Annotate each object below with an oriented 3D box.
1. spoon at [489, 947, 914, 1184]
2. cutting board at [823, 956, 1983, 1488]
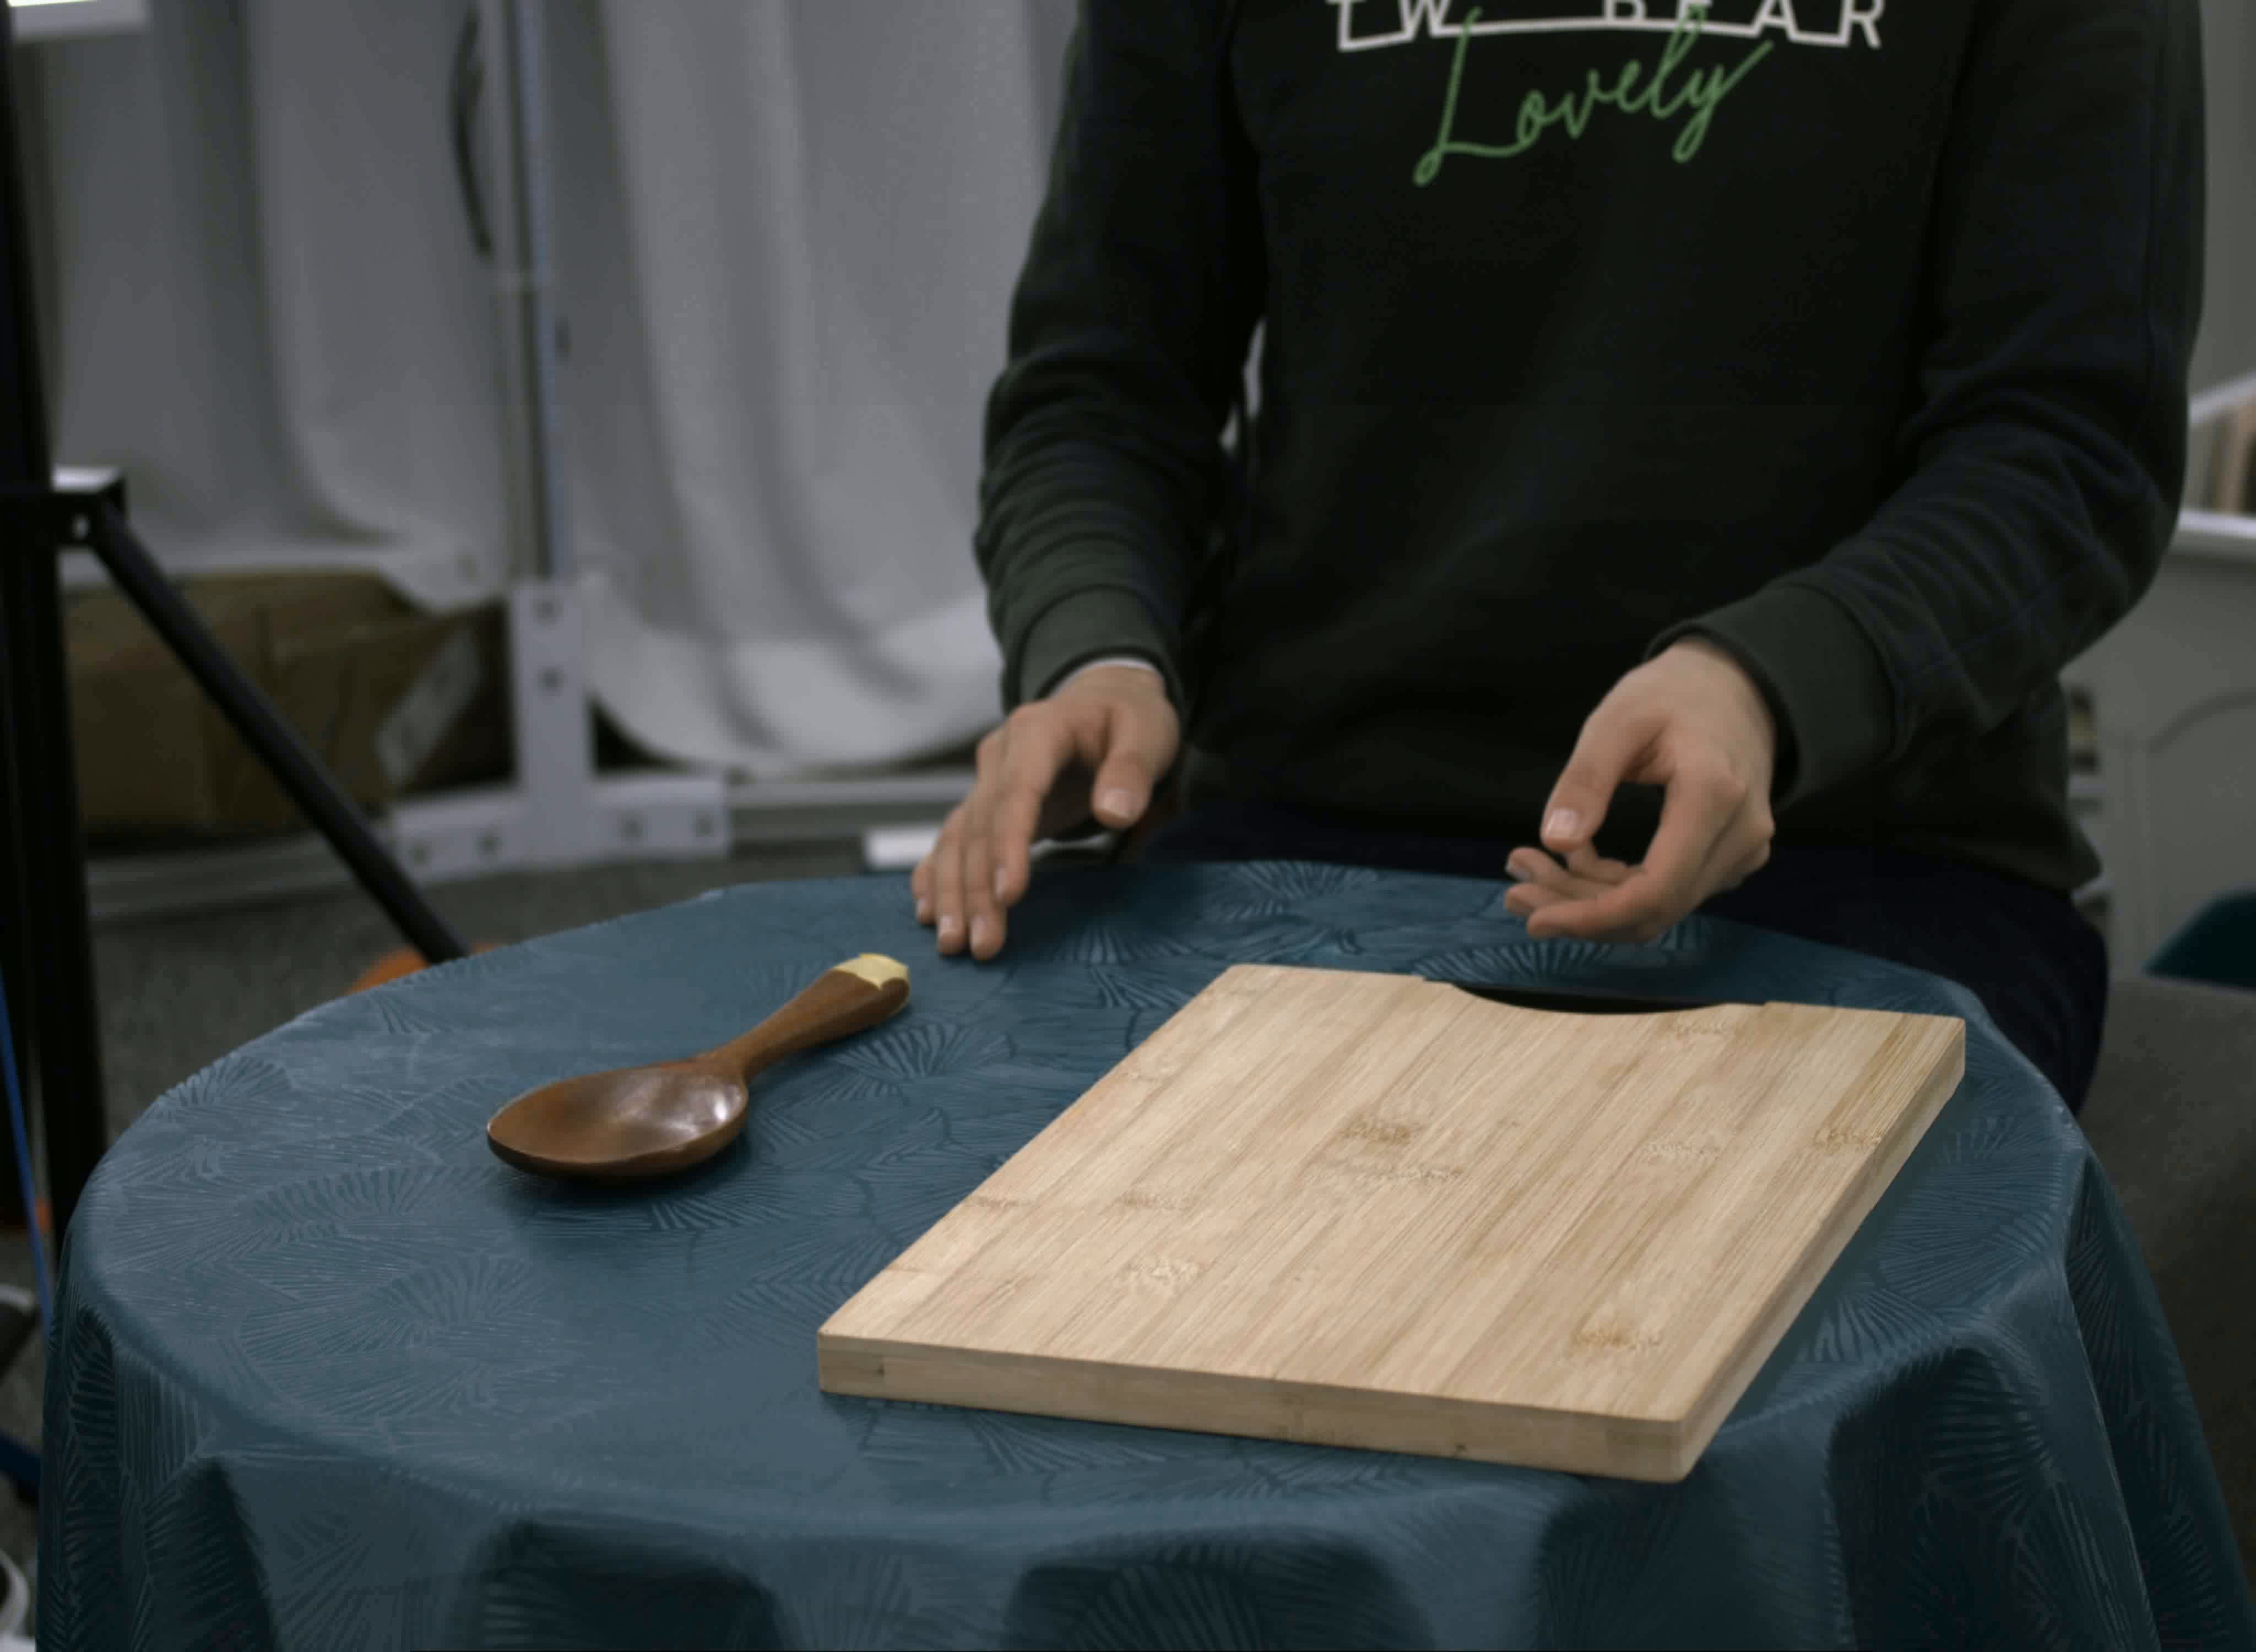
[{"bbox_3d":[-0.124,0.076,1.660,0.076,0.017,0.212,4,18,27],"label":"spoon"},{"bbox_3d":[0.090,0.105,1.525,0.254,0.023,0.344,4,17,20],"label":"cutting board"}]
